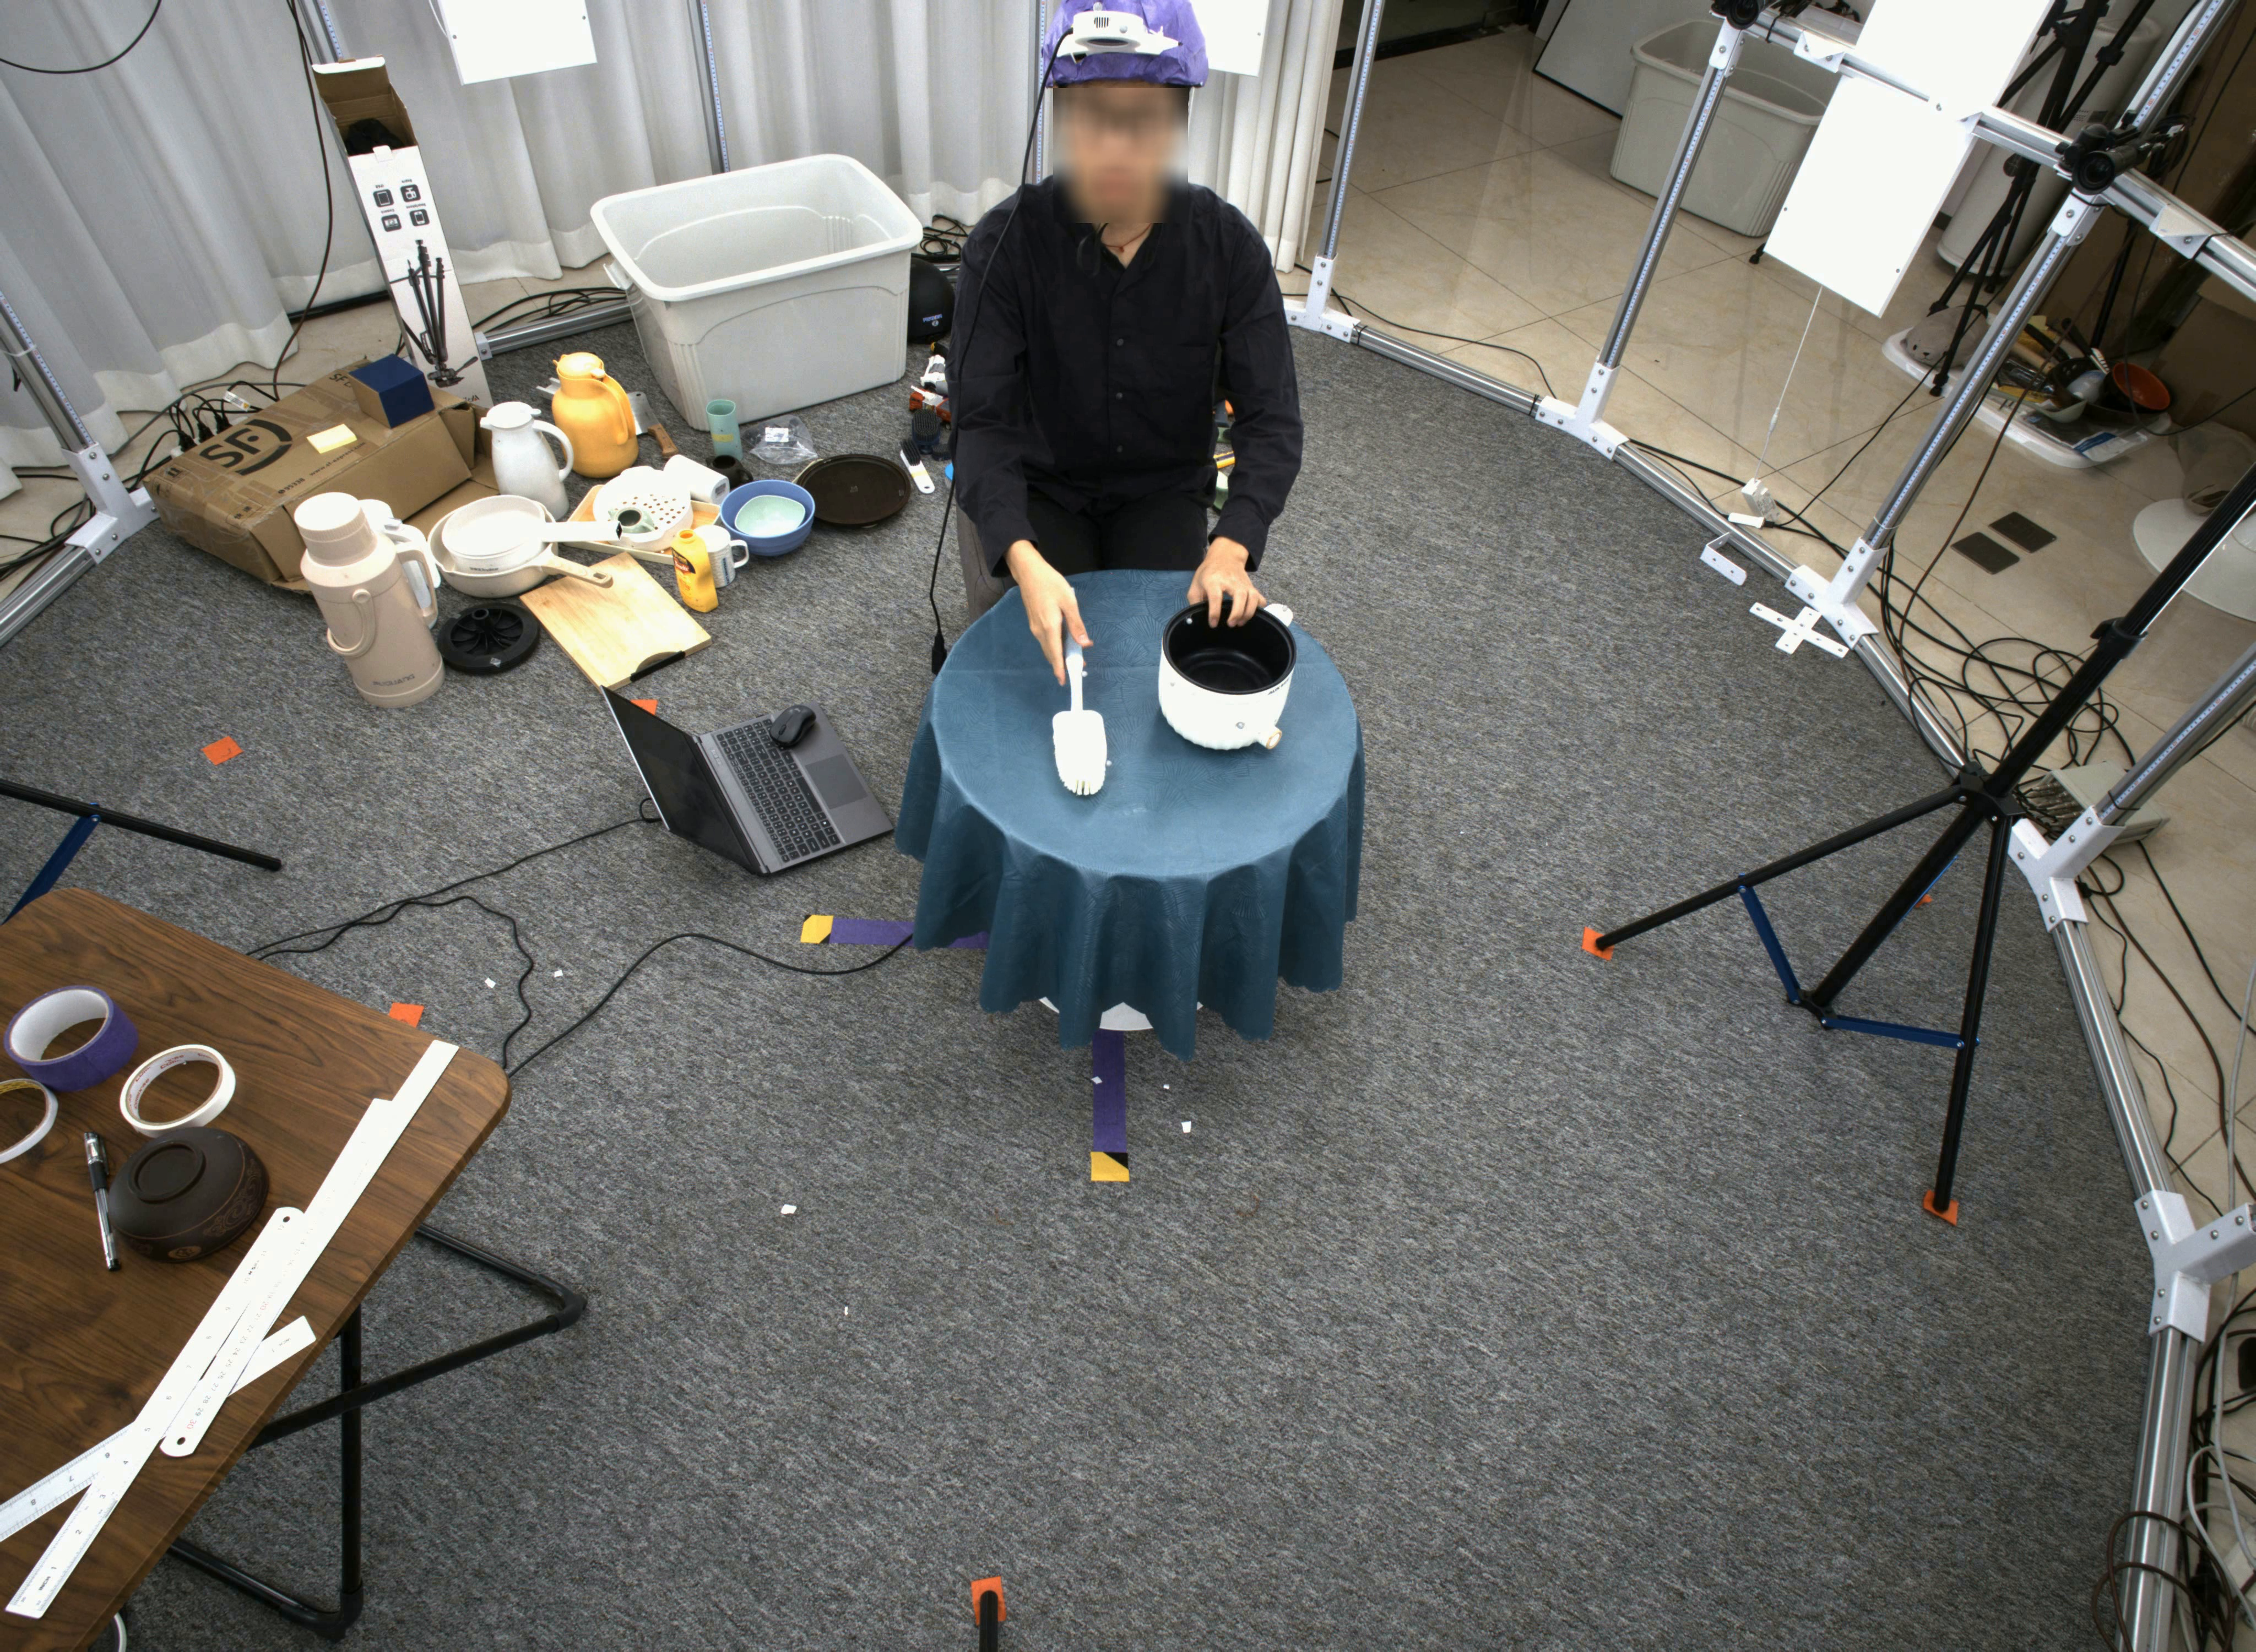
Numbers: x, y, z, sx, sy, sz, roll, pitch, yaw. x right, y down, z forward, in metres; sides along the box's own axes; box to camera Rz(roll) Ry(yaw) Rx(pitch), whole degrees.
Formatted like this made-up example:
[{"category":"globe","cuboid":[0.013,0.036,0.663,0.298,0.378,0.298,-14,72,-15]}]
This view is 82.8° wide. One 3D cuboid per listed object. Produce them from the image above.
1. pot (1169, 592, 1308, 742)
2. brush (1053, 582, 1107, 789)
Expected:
[{"category":"pot","cuboid":[0.151,-0.208,1.763,0.193,0.139,0.243,36,57,26]},{"category":"brush","cuboid":[-0.069,-0.191,1.774,0.082,0.084,0.332,18,53,-39]}]
